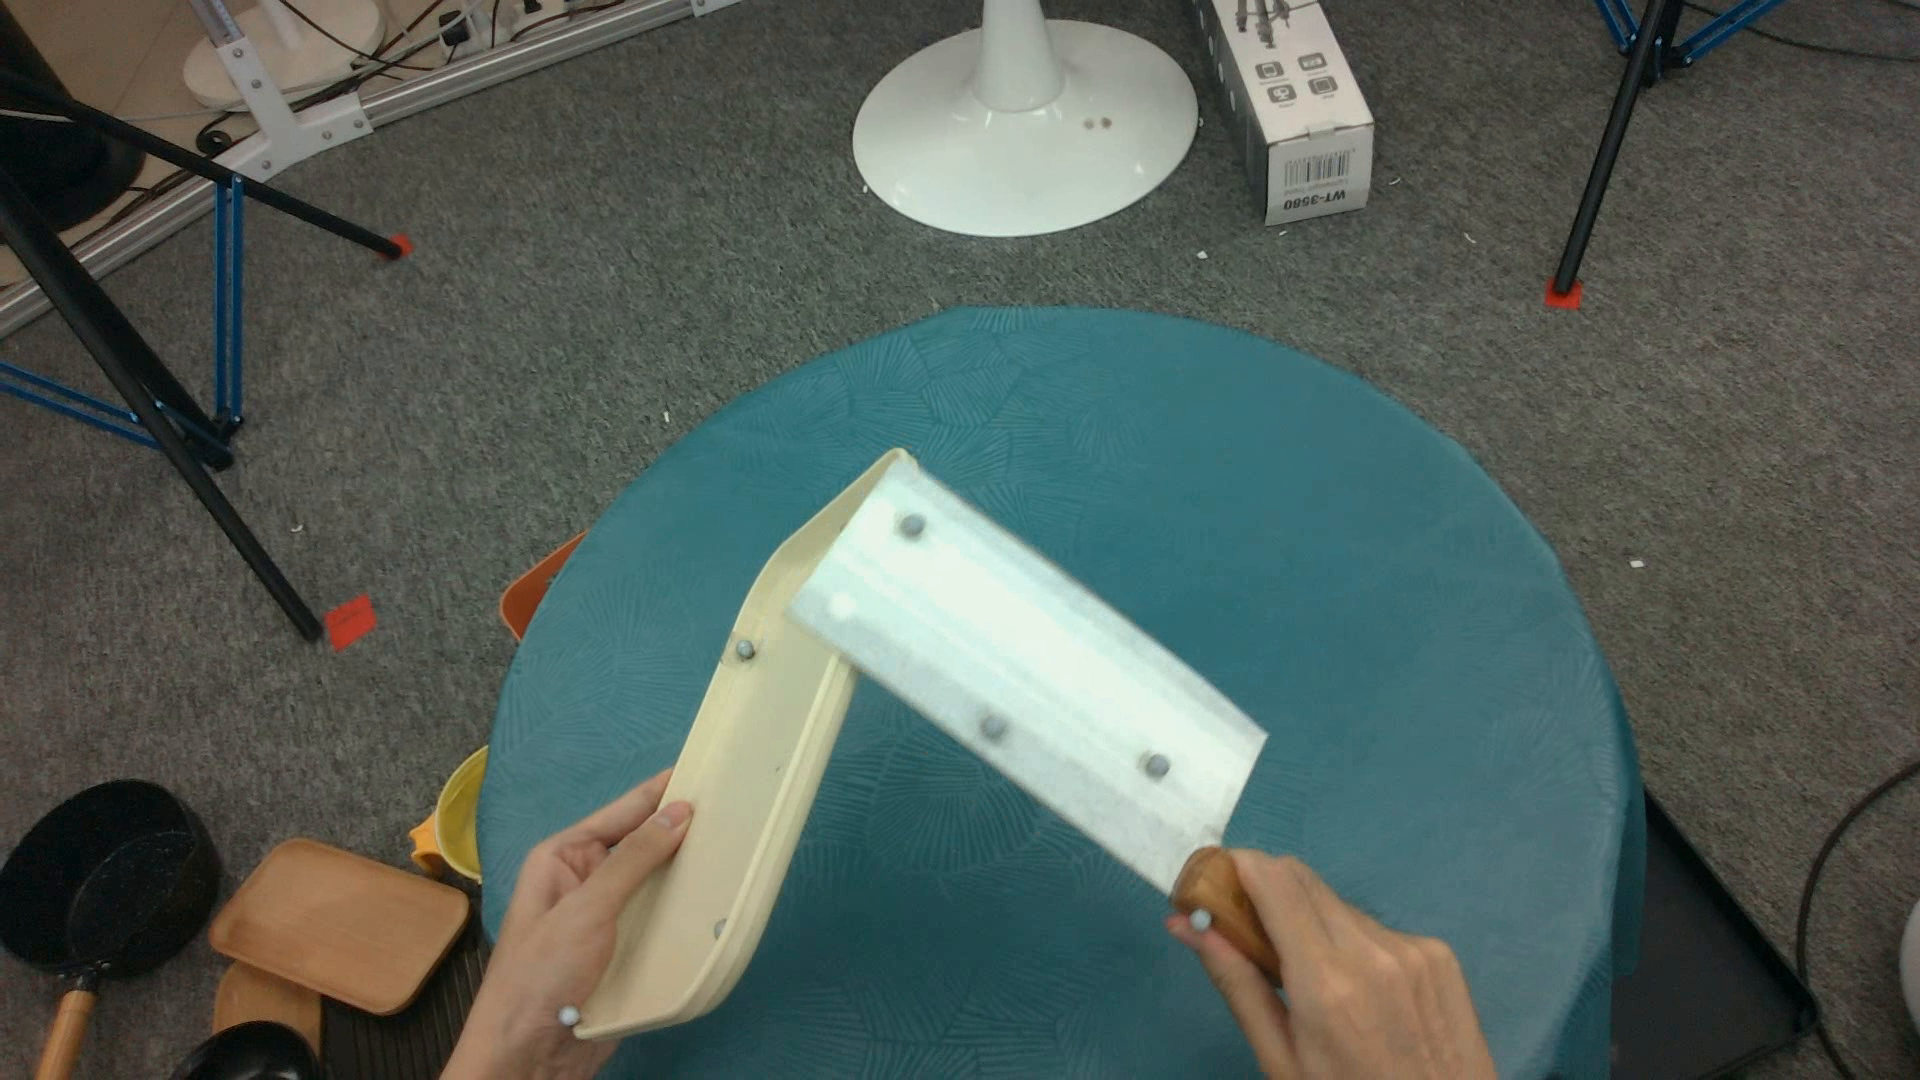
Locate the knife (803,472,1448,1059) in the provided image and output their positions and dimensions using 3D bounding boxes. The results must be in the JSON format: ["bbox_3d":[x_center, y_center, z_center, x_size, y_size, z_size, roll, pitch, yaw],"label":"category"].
[{"bbox_3d":[0.078,0.082,0.538,0.306,0.021,0.093,38,55,-6],"label":"knife"}]

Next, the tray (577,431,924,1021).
[{"bbox_3d":[-0.083,0.075,0.563,0.017,0.170,0.241,30,57,-19],"label":"tray"}]
